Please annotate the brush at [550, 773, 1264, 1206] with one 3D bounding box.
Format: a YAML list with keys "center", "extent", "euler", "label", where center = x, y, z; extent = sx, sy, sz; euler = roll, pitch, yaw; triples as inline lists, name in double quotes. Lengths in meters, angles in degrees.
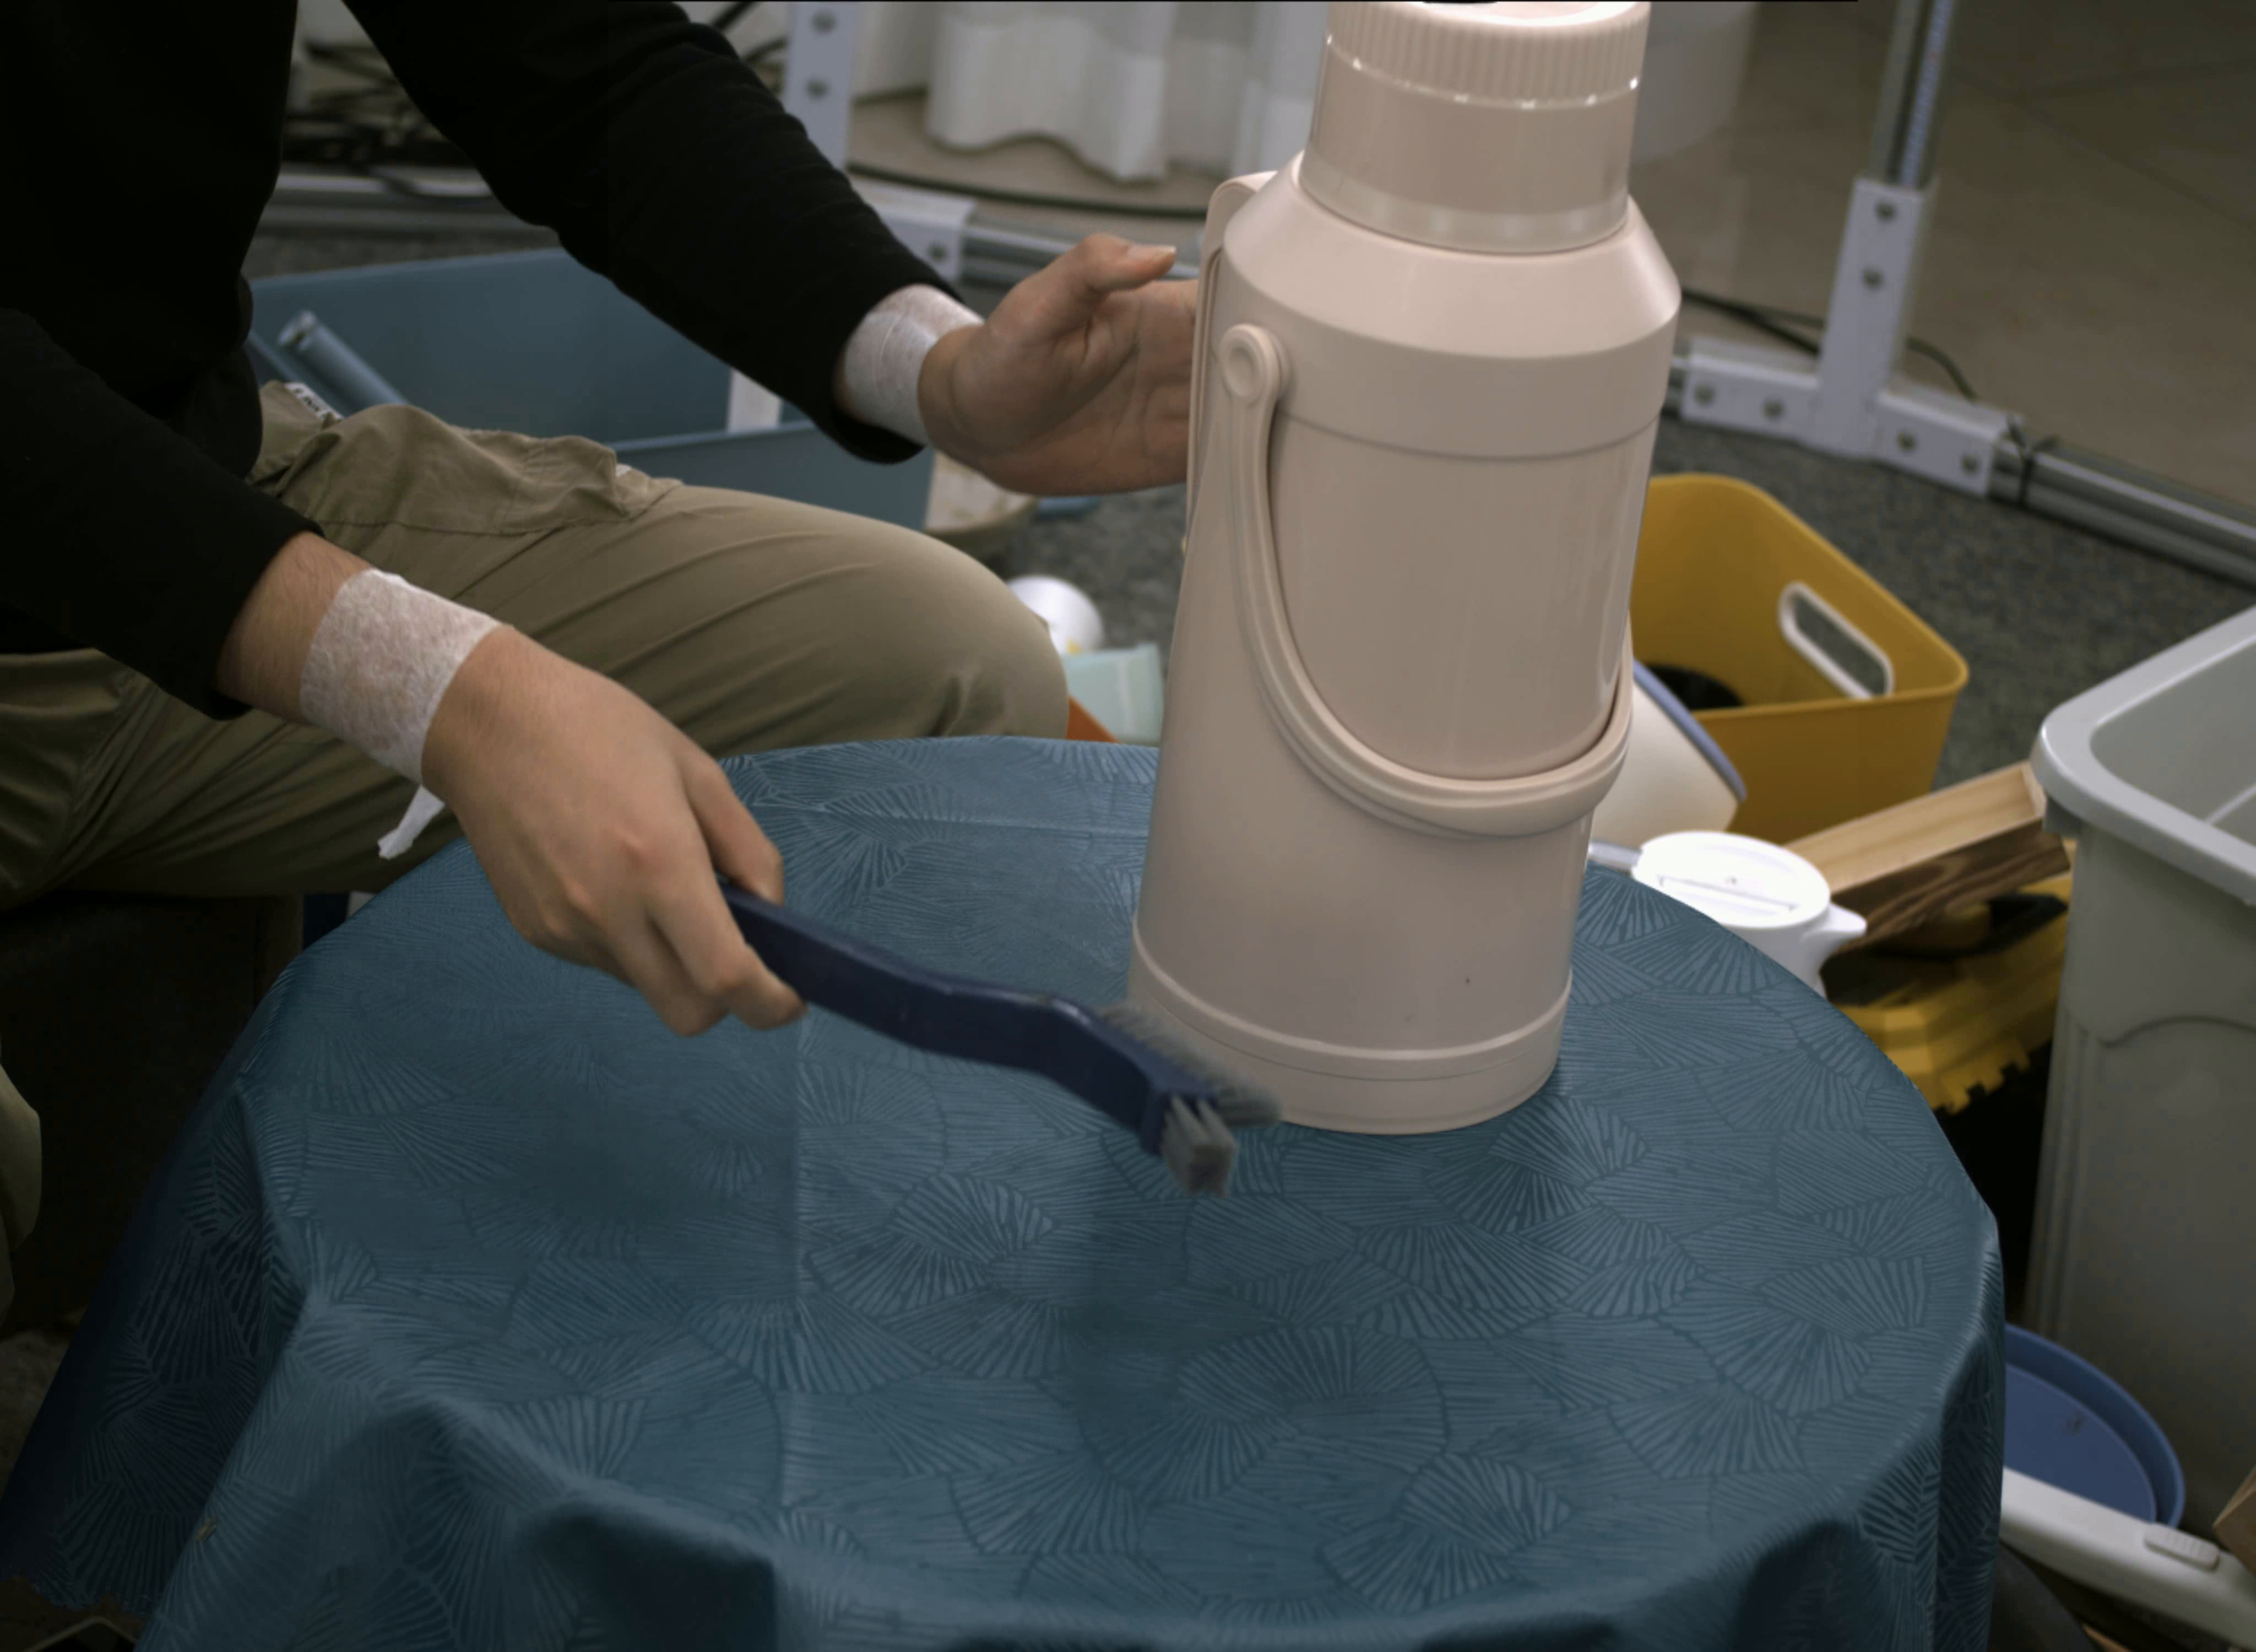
- center: [-0.083, 0.049, 1.714]
  extent: [0.274, 0.033, 0.095]
  euler: [20, 25, 19]
  label: "brush"

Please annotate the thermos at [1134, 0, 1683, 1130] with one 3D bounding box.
- center: [0.092, -0.111, 1.846]
  extent: [0.174, 0.405, 0.209]
  euler: [-15, 34, -35]
  label: "thermos"
